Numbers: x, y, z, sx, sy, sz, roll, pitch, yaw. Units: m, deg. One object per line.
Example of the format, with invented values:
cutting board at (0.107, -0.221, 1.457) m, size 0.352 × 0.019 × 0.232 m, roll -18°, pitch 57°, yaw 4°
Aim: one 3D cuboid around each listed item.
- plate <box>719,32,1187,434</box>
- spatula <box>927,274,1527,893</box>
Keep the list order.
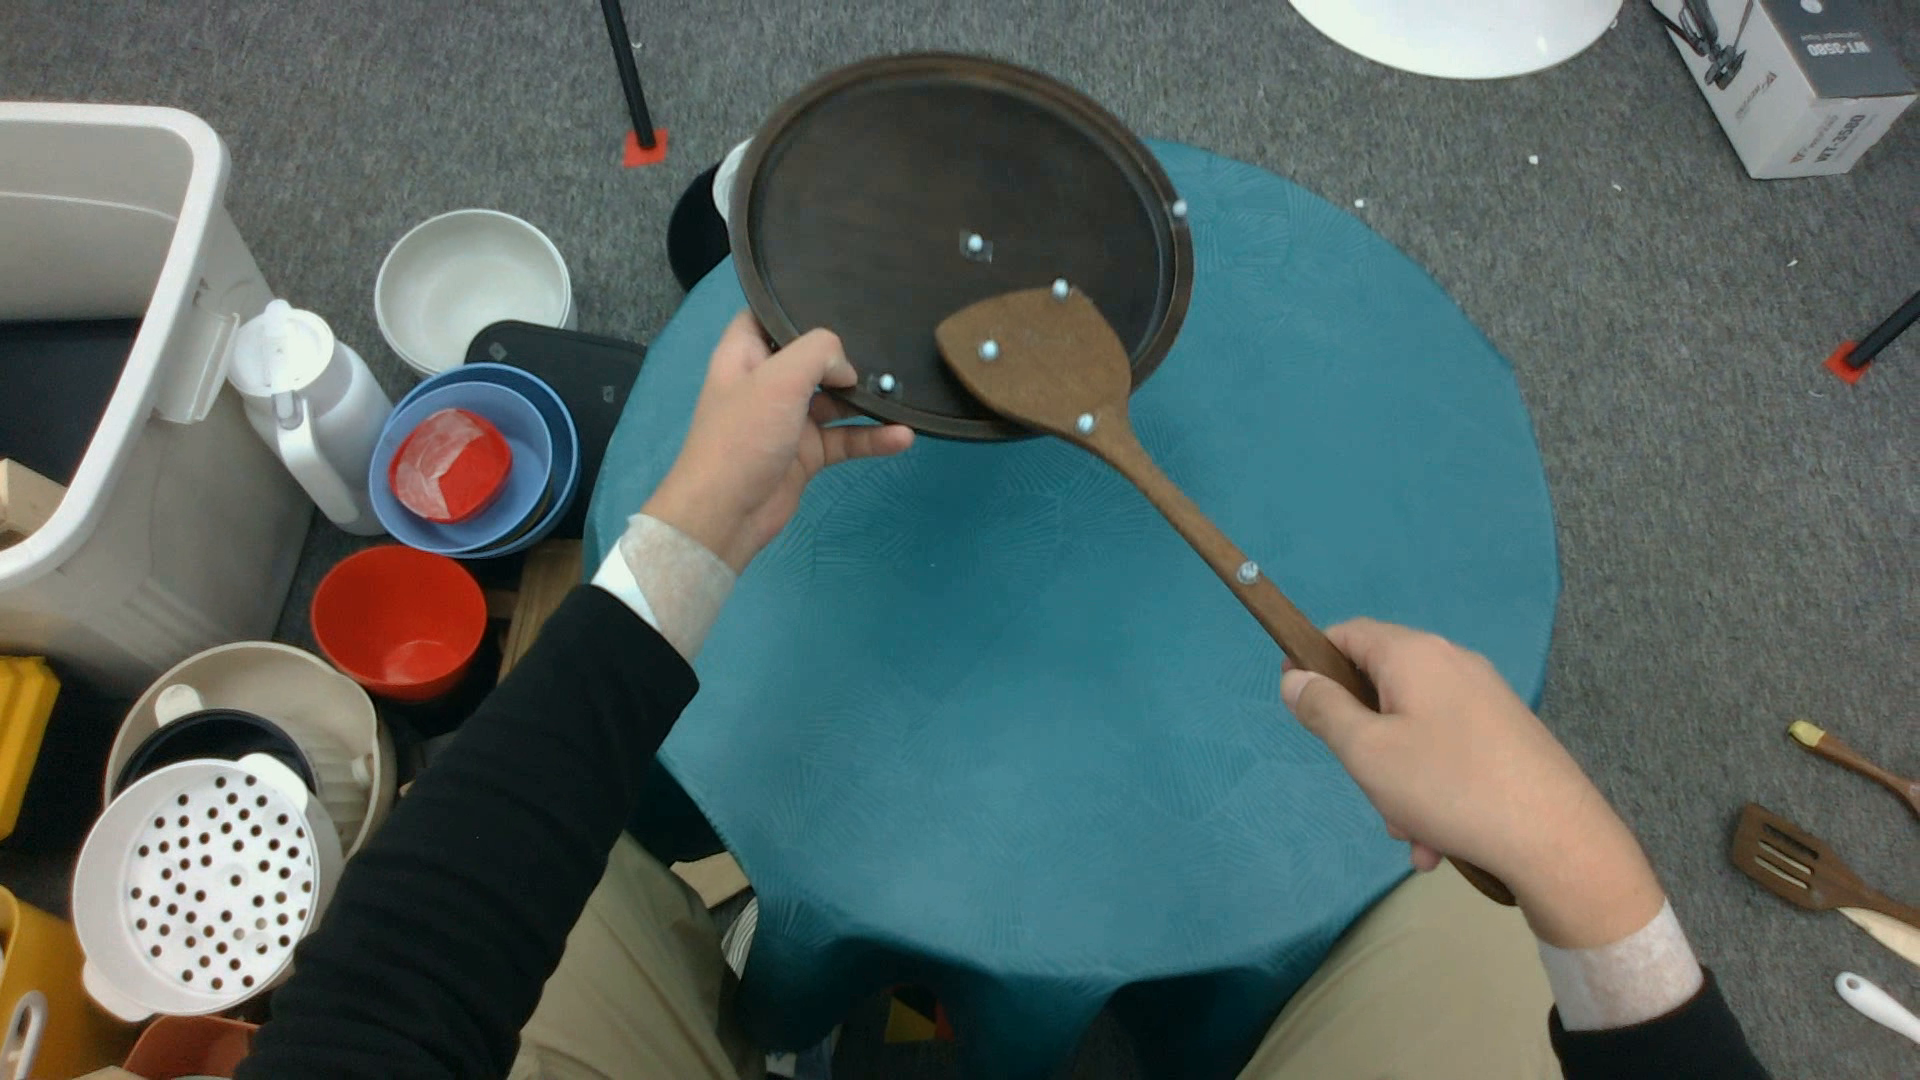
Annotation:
plate at (-0.002, -0.169, 0.739) m, size 0.255 × 0.029 × 0.255 m, roll 5°, pitch 66°, yaw -11°
spatula at (0.116, 0.001, 0.630) m, size 0.096 × 0.015 × 0.386 m, roll -22°, pitch 56°, yaw -26°
